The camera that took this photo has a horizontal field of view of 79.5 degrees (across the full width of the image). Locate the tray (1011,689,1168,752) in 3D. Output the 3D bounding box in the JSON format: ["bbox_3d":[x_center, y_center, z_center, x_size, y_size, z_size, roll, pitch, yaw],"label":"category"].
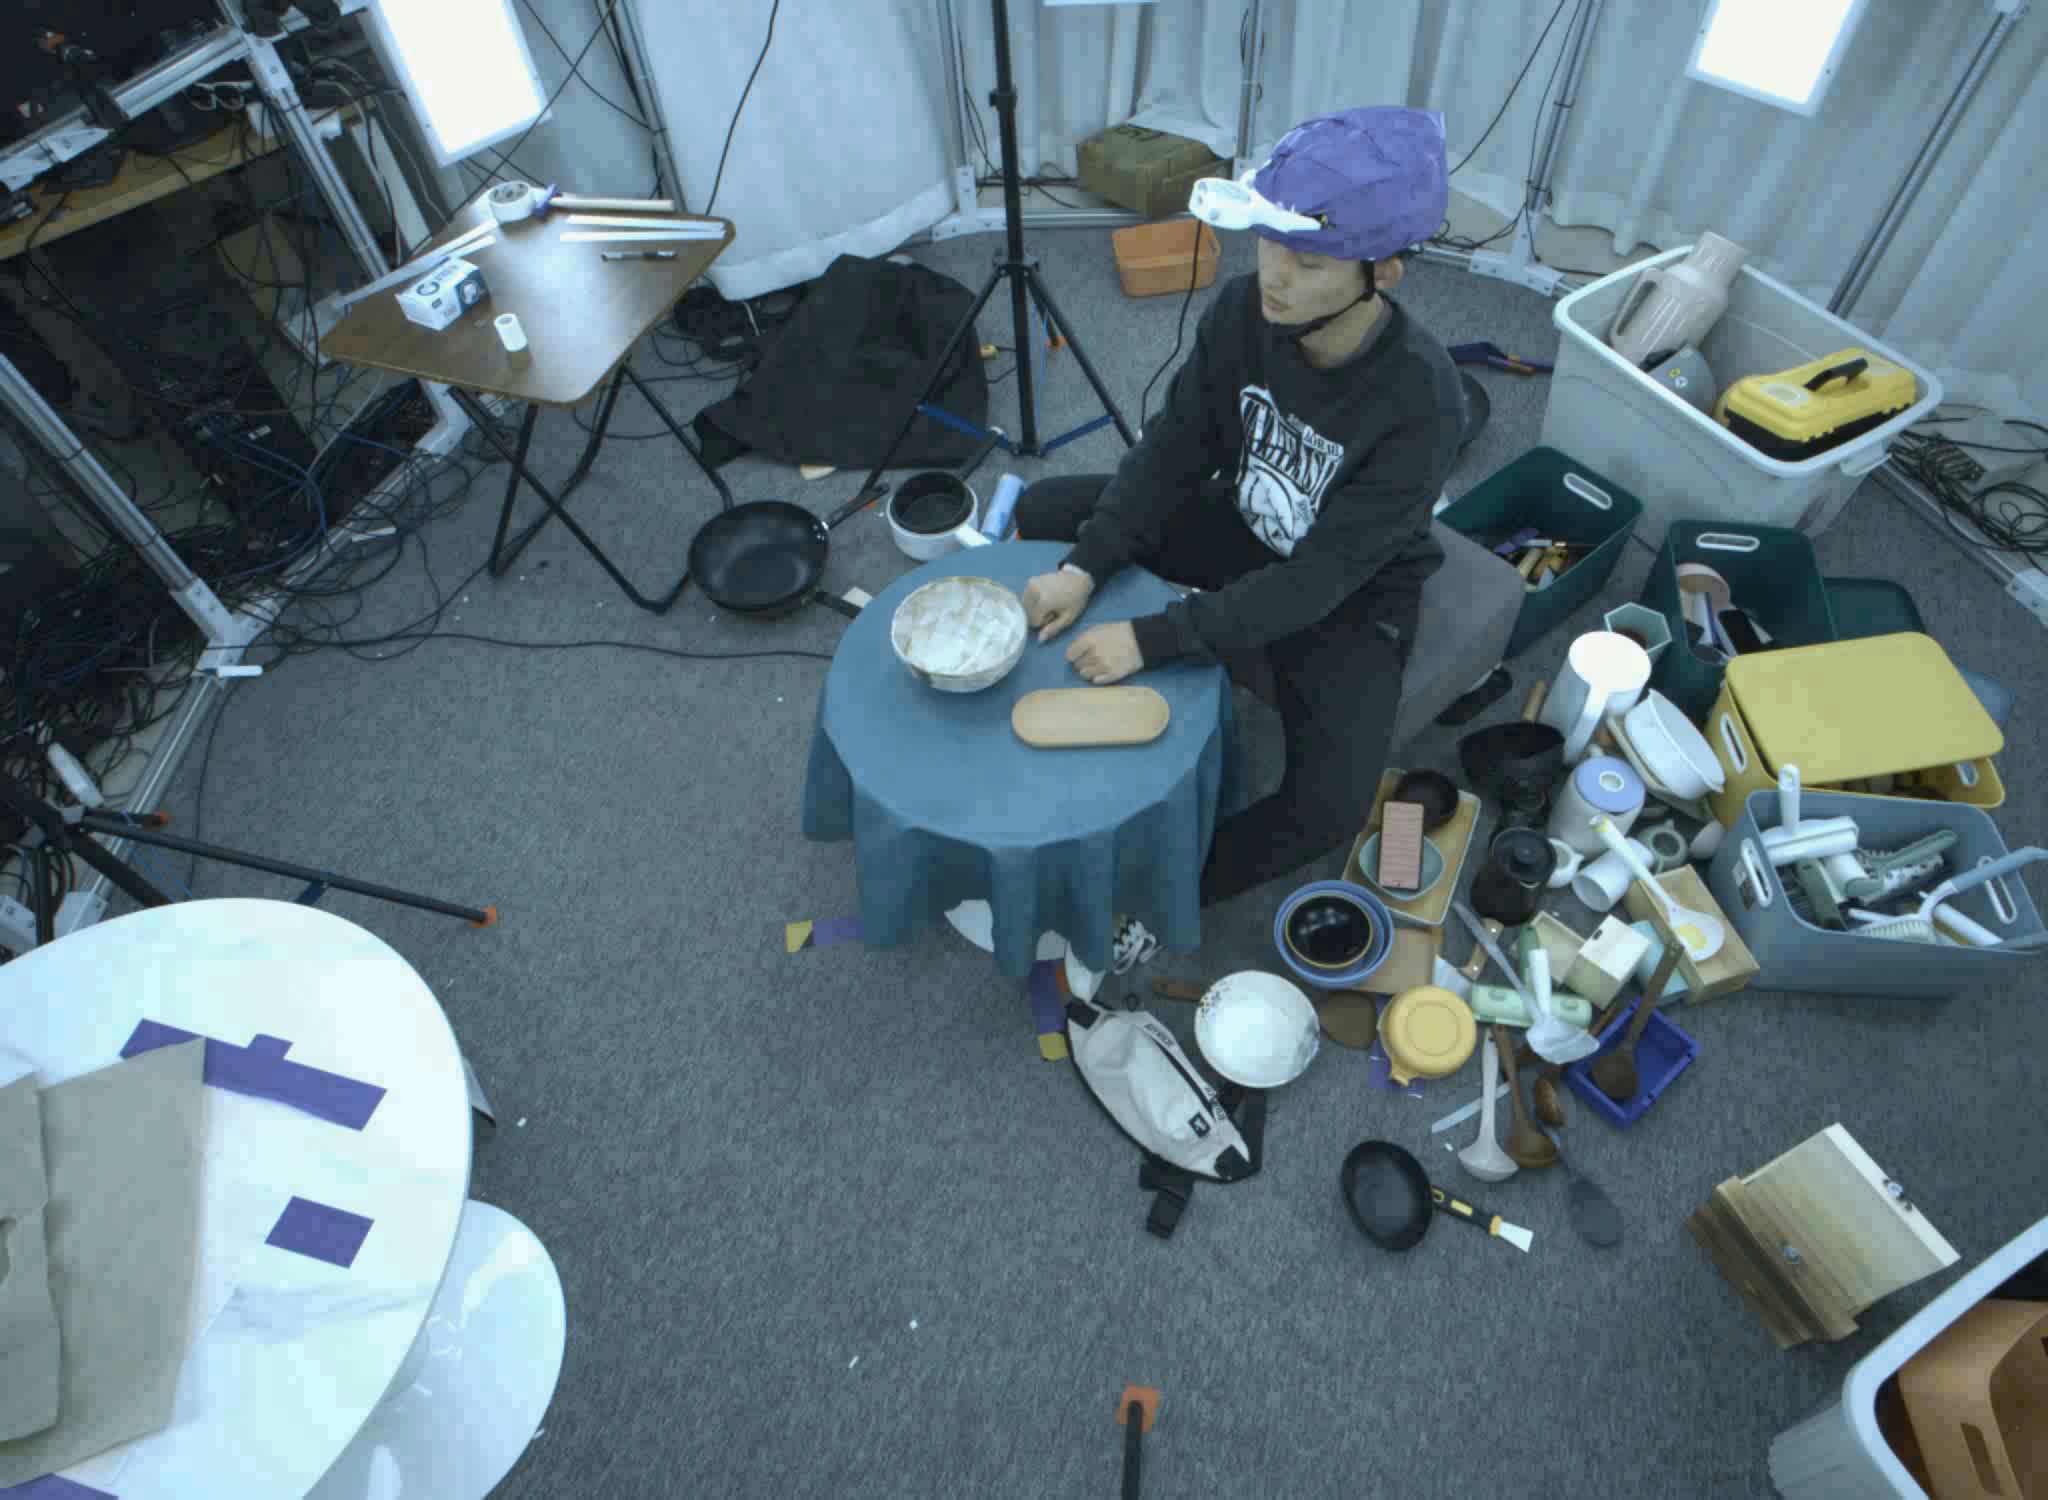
[{"bbox_3d":[0.096,-0.043,1.816,0.231,0.020,0.100,-4,53,1],"label":"tray"}]

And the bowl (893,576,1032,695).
[{"bbox_3d":[-0.088,-0.154,1.850,0.214,0.095,0.212,-1,54,2],"label":"bowl"}]
